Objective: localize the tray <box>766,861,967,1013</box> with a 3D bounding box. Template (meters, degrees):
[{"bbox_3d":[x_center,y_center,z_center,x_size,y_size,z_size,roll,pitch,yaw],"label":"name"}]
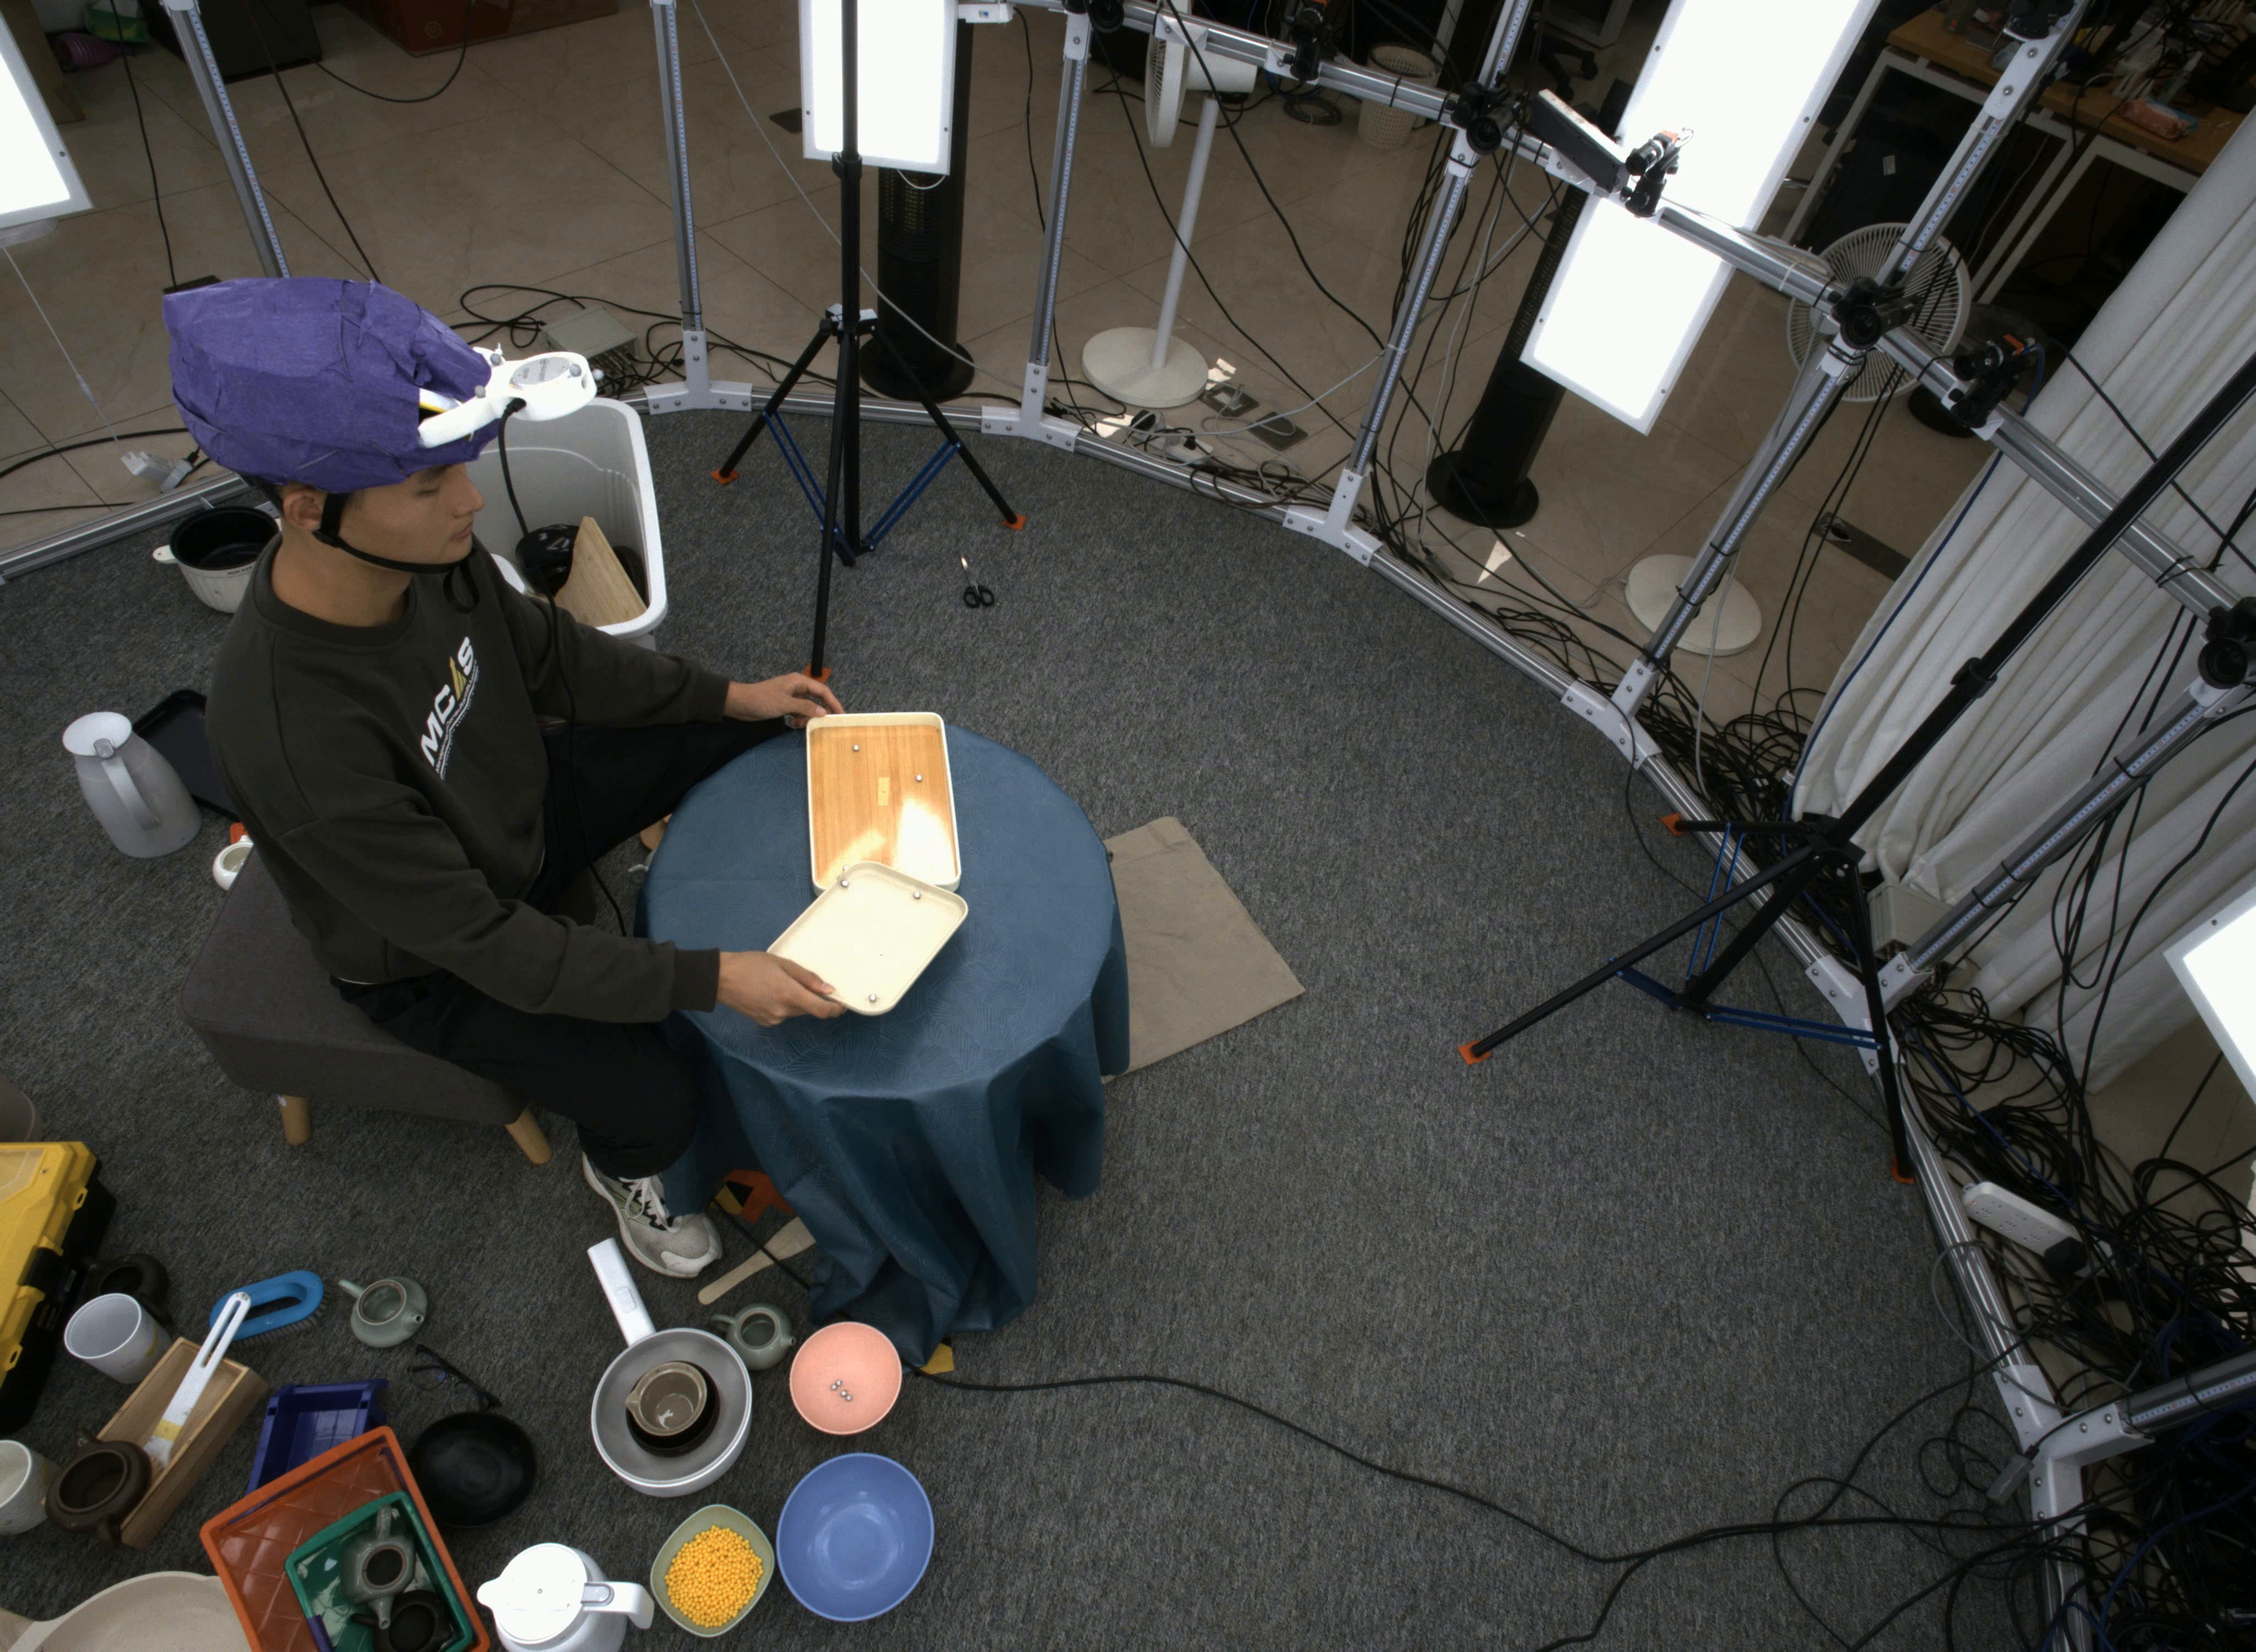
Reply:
[{"bbox_3d":[-0.314,0.130,1.583,0.168,0.018,0.238,22,37,10],"label":"tray"}]

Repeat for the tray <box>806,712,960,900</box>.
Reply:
[{"bbox_3d":[-0.336,-0.033,1.764,0.192,0.028,0.293,-2,54,-14],"label":"tray"}]
